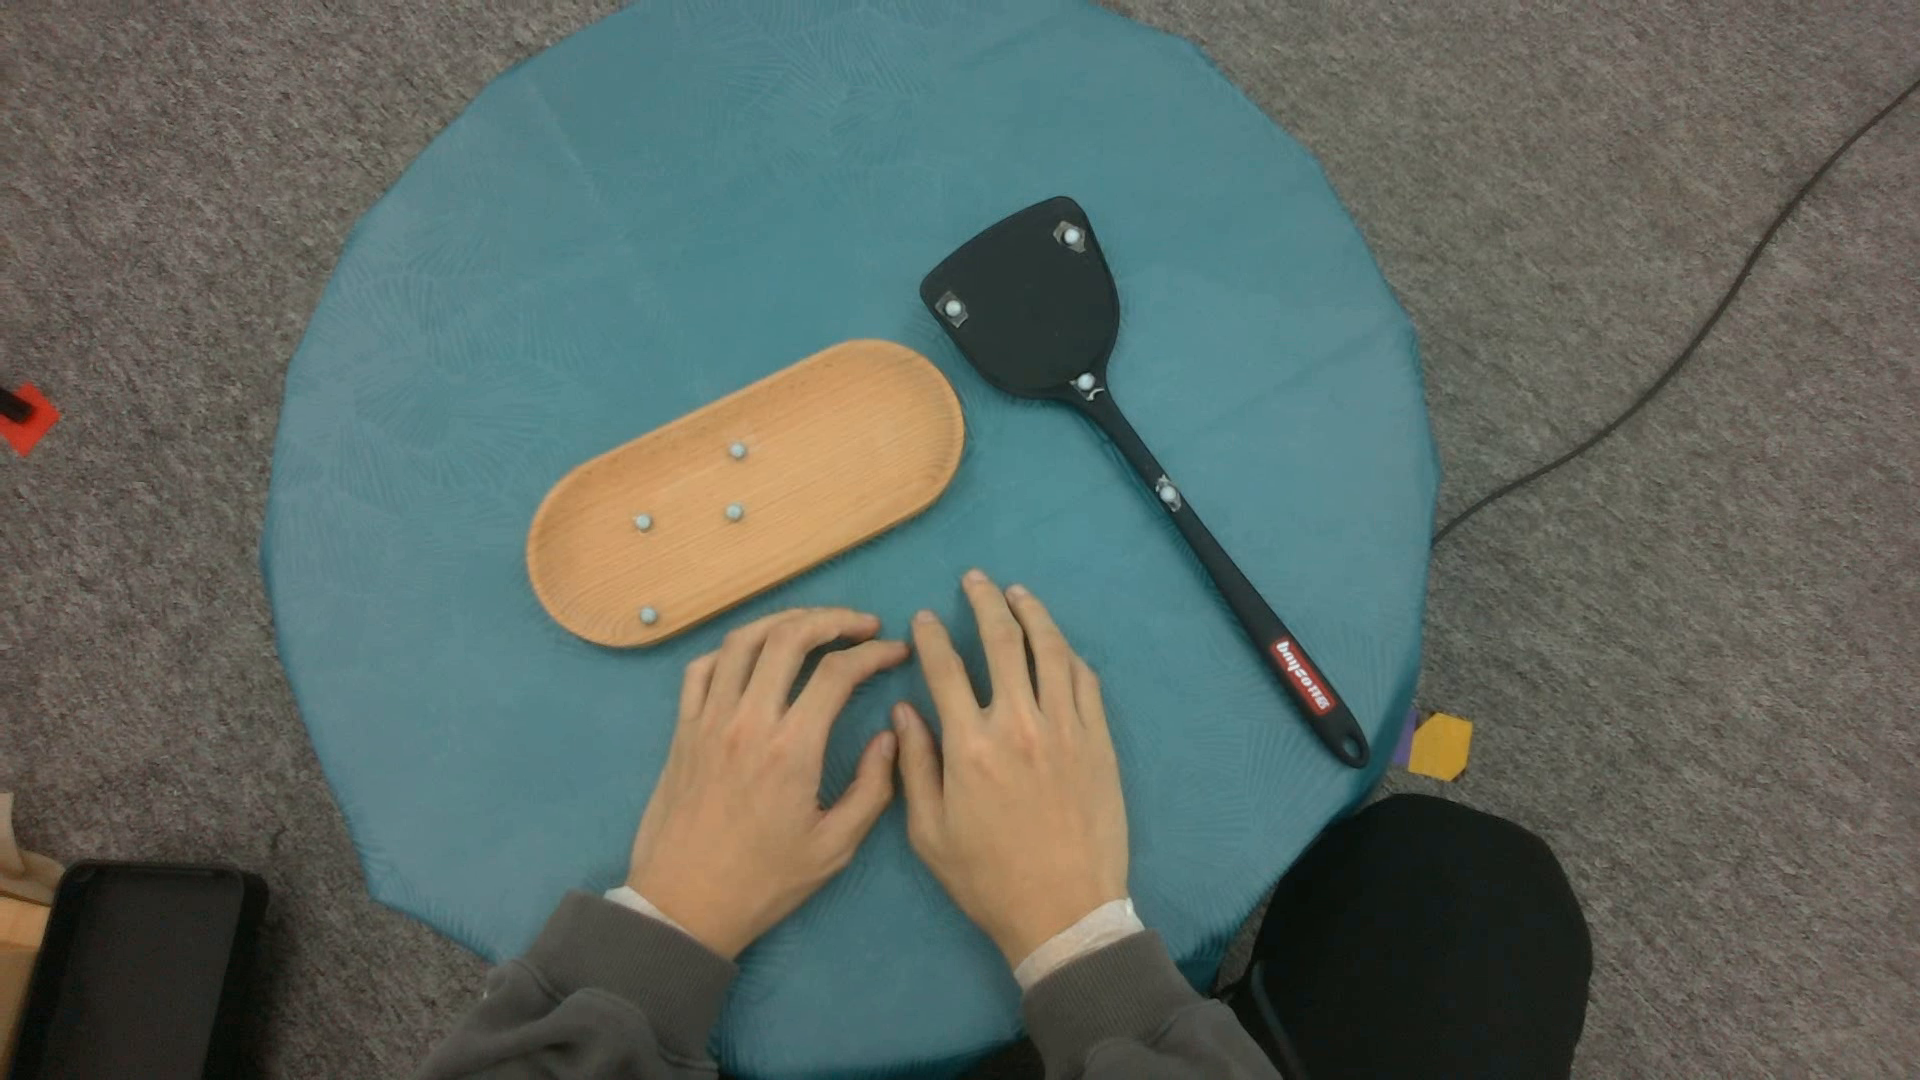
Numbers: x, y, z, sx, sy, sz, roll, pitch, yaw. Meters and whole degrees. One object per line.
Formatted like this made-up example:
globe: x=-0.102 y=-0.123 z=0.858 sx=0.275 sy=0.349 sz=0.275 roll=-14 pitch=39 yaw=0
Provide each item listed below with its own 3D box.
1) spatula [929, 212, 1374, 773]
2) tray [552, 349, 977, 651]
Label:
spatula: x=0.109 y=-0.021 z=0.698 sx=0.100 sy=0.040 sz=0.326 roll=-33 pitch=75 yaw=-7
tray: x=-0.099 y=-0.022 z=0.714 sx=0.231 sy=0.020 sz=0.102 roll=-26 pitch=75 yaw=-8
